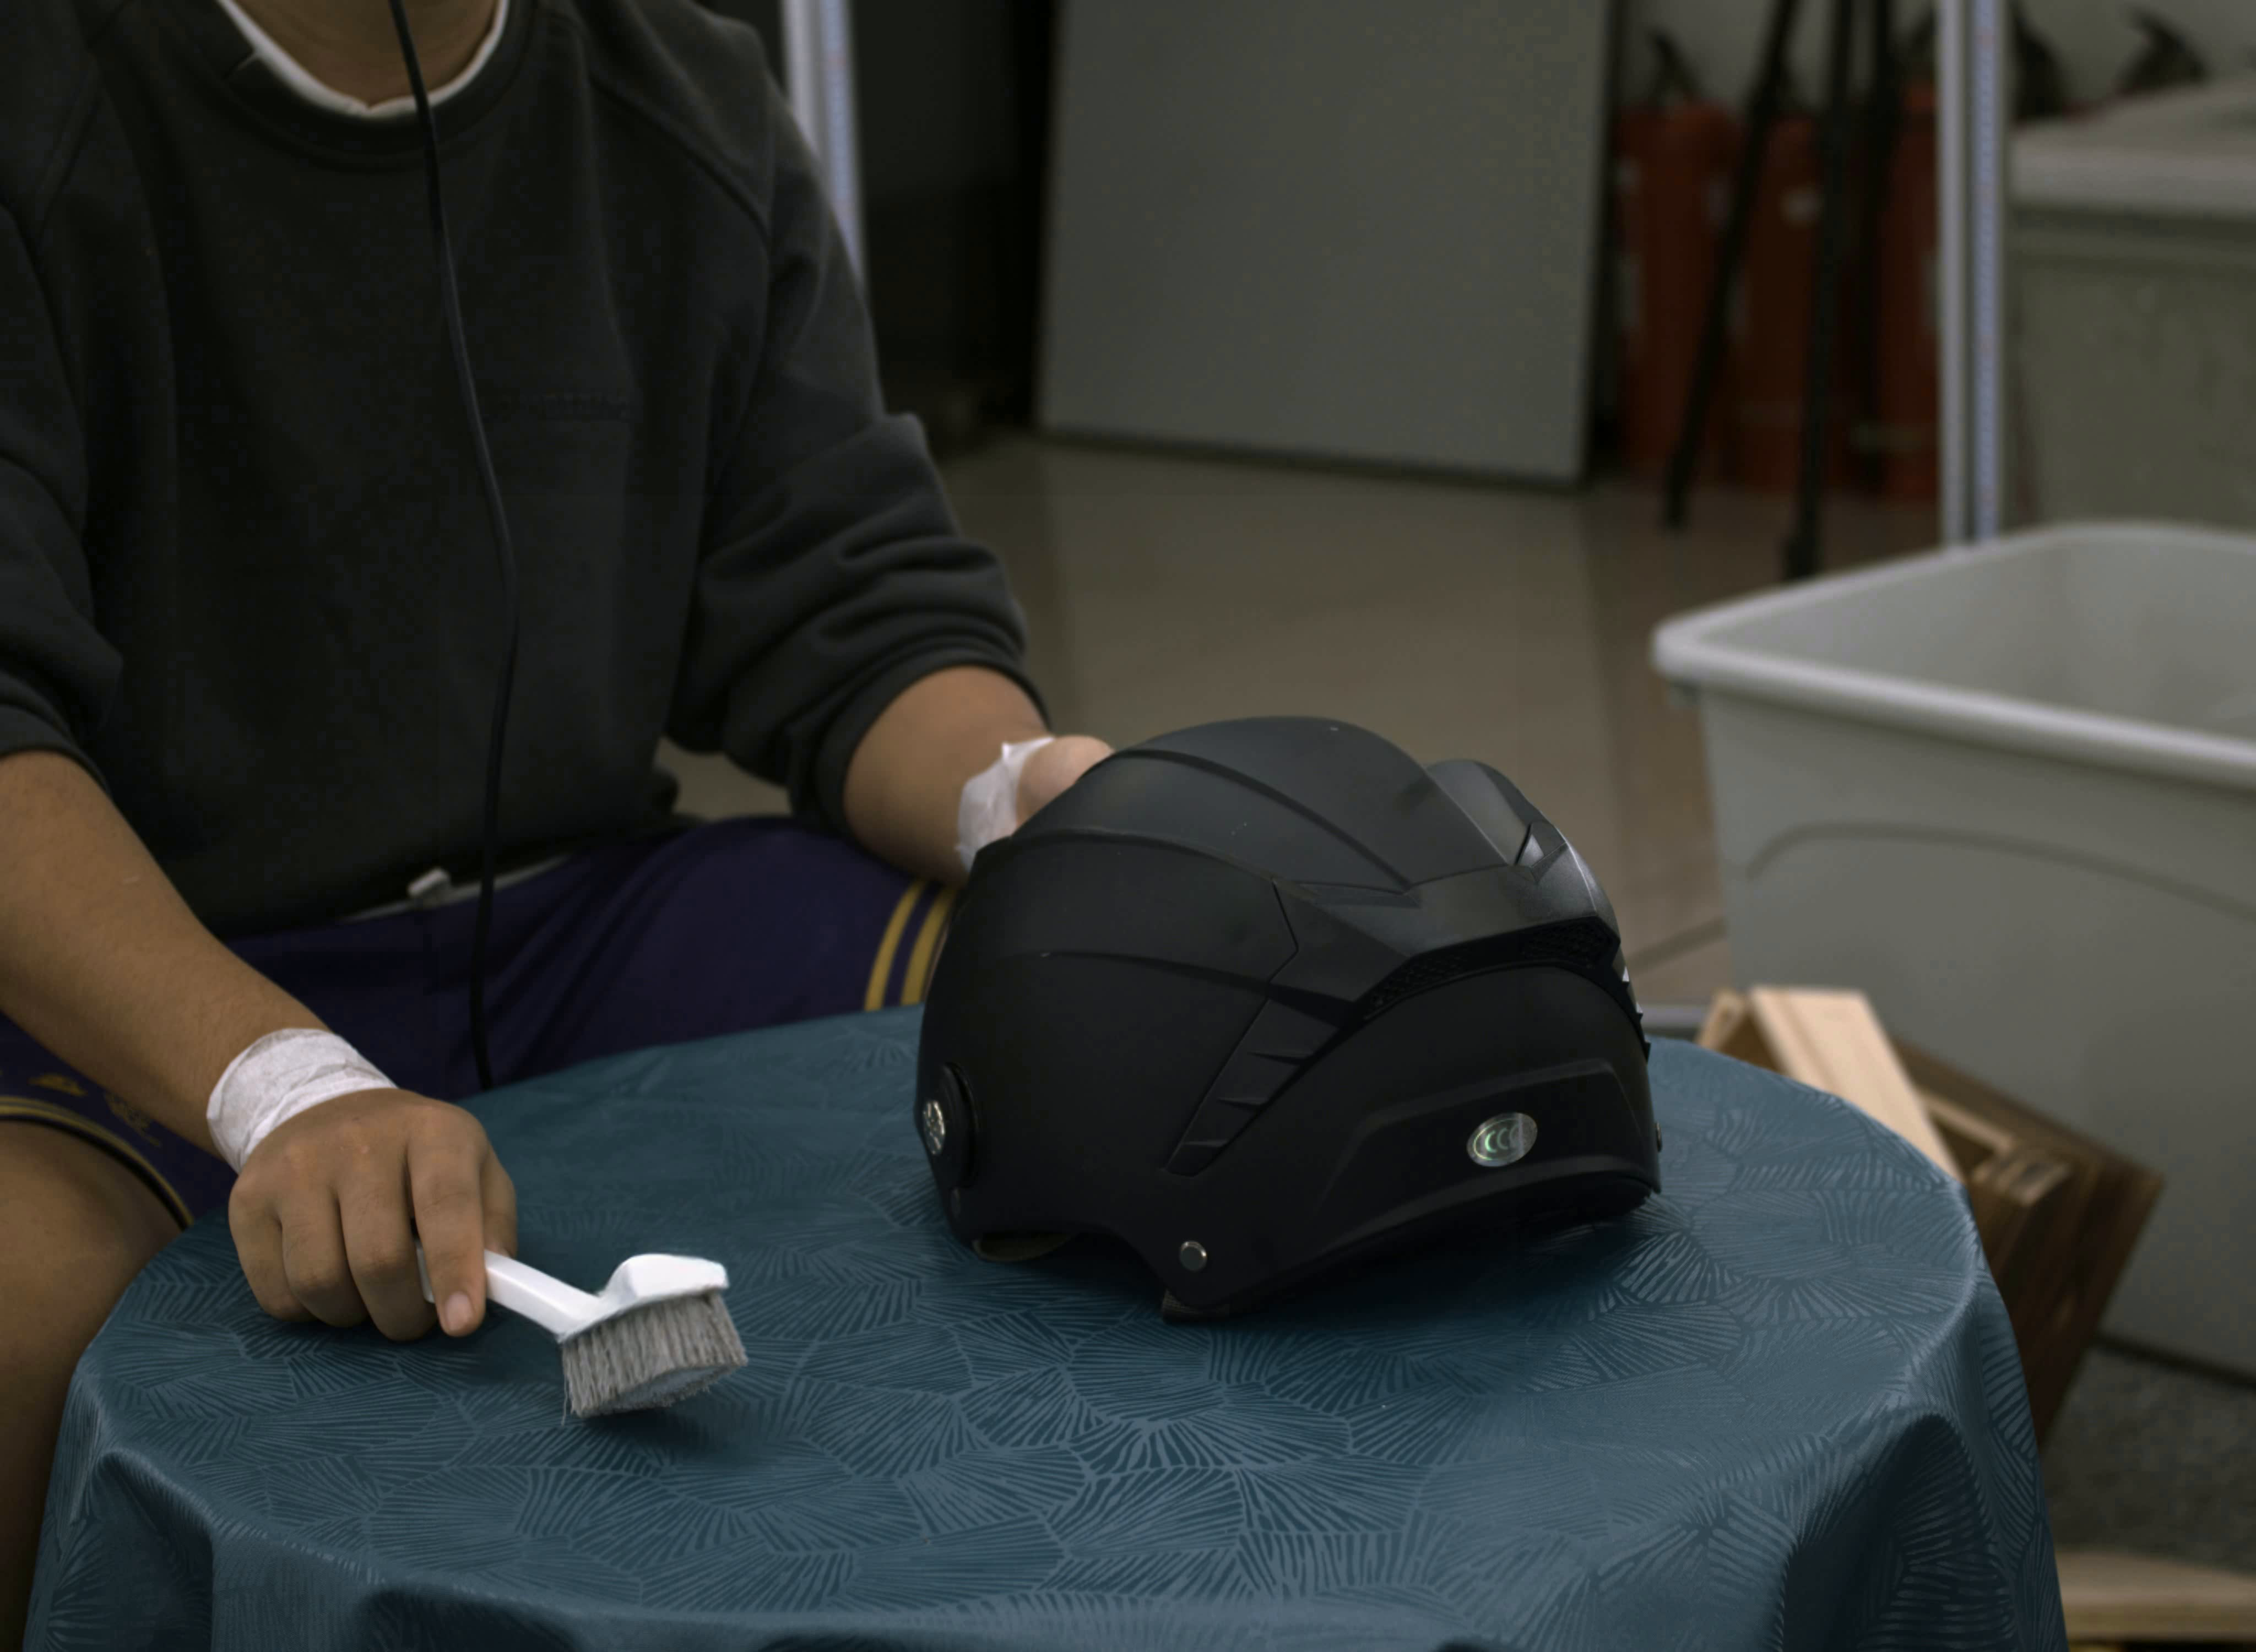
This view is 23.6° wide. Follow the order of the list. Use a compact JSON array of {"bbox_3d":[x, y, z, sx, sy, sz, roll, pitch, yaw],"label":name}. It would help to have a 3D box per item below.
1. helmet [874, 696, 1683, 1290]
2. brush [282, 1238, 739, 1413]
[{"bbox_3d":[0.050,0.046,1.727,0.241,0.174,0.279,-10,18,-26],"label":"helmet"},{"bbox_3d":[-0.192,0.151,1.644,0.033,0.051,0.246,-4,-1,-36],"label":"brush"}]
